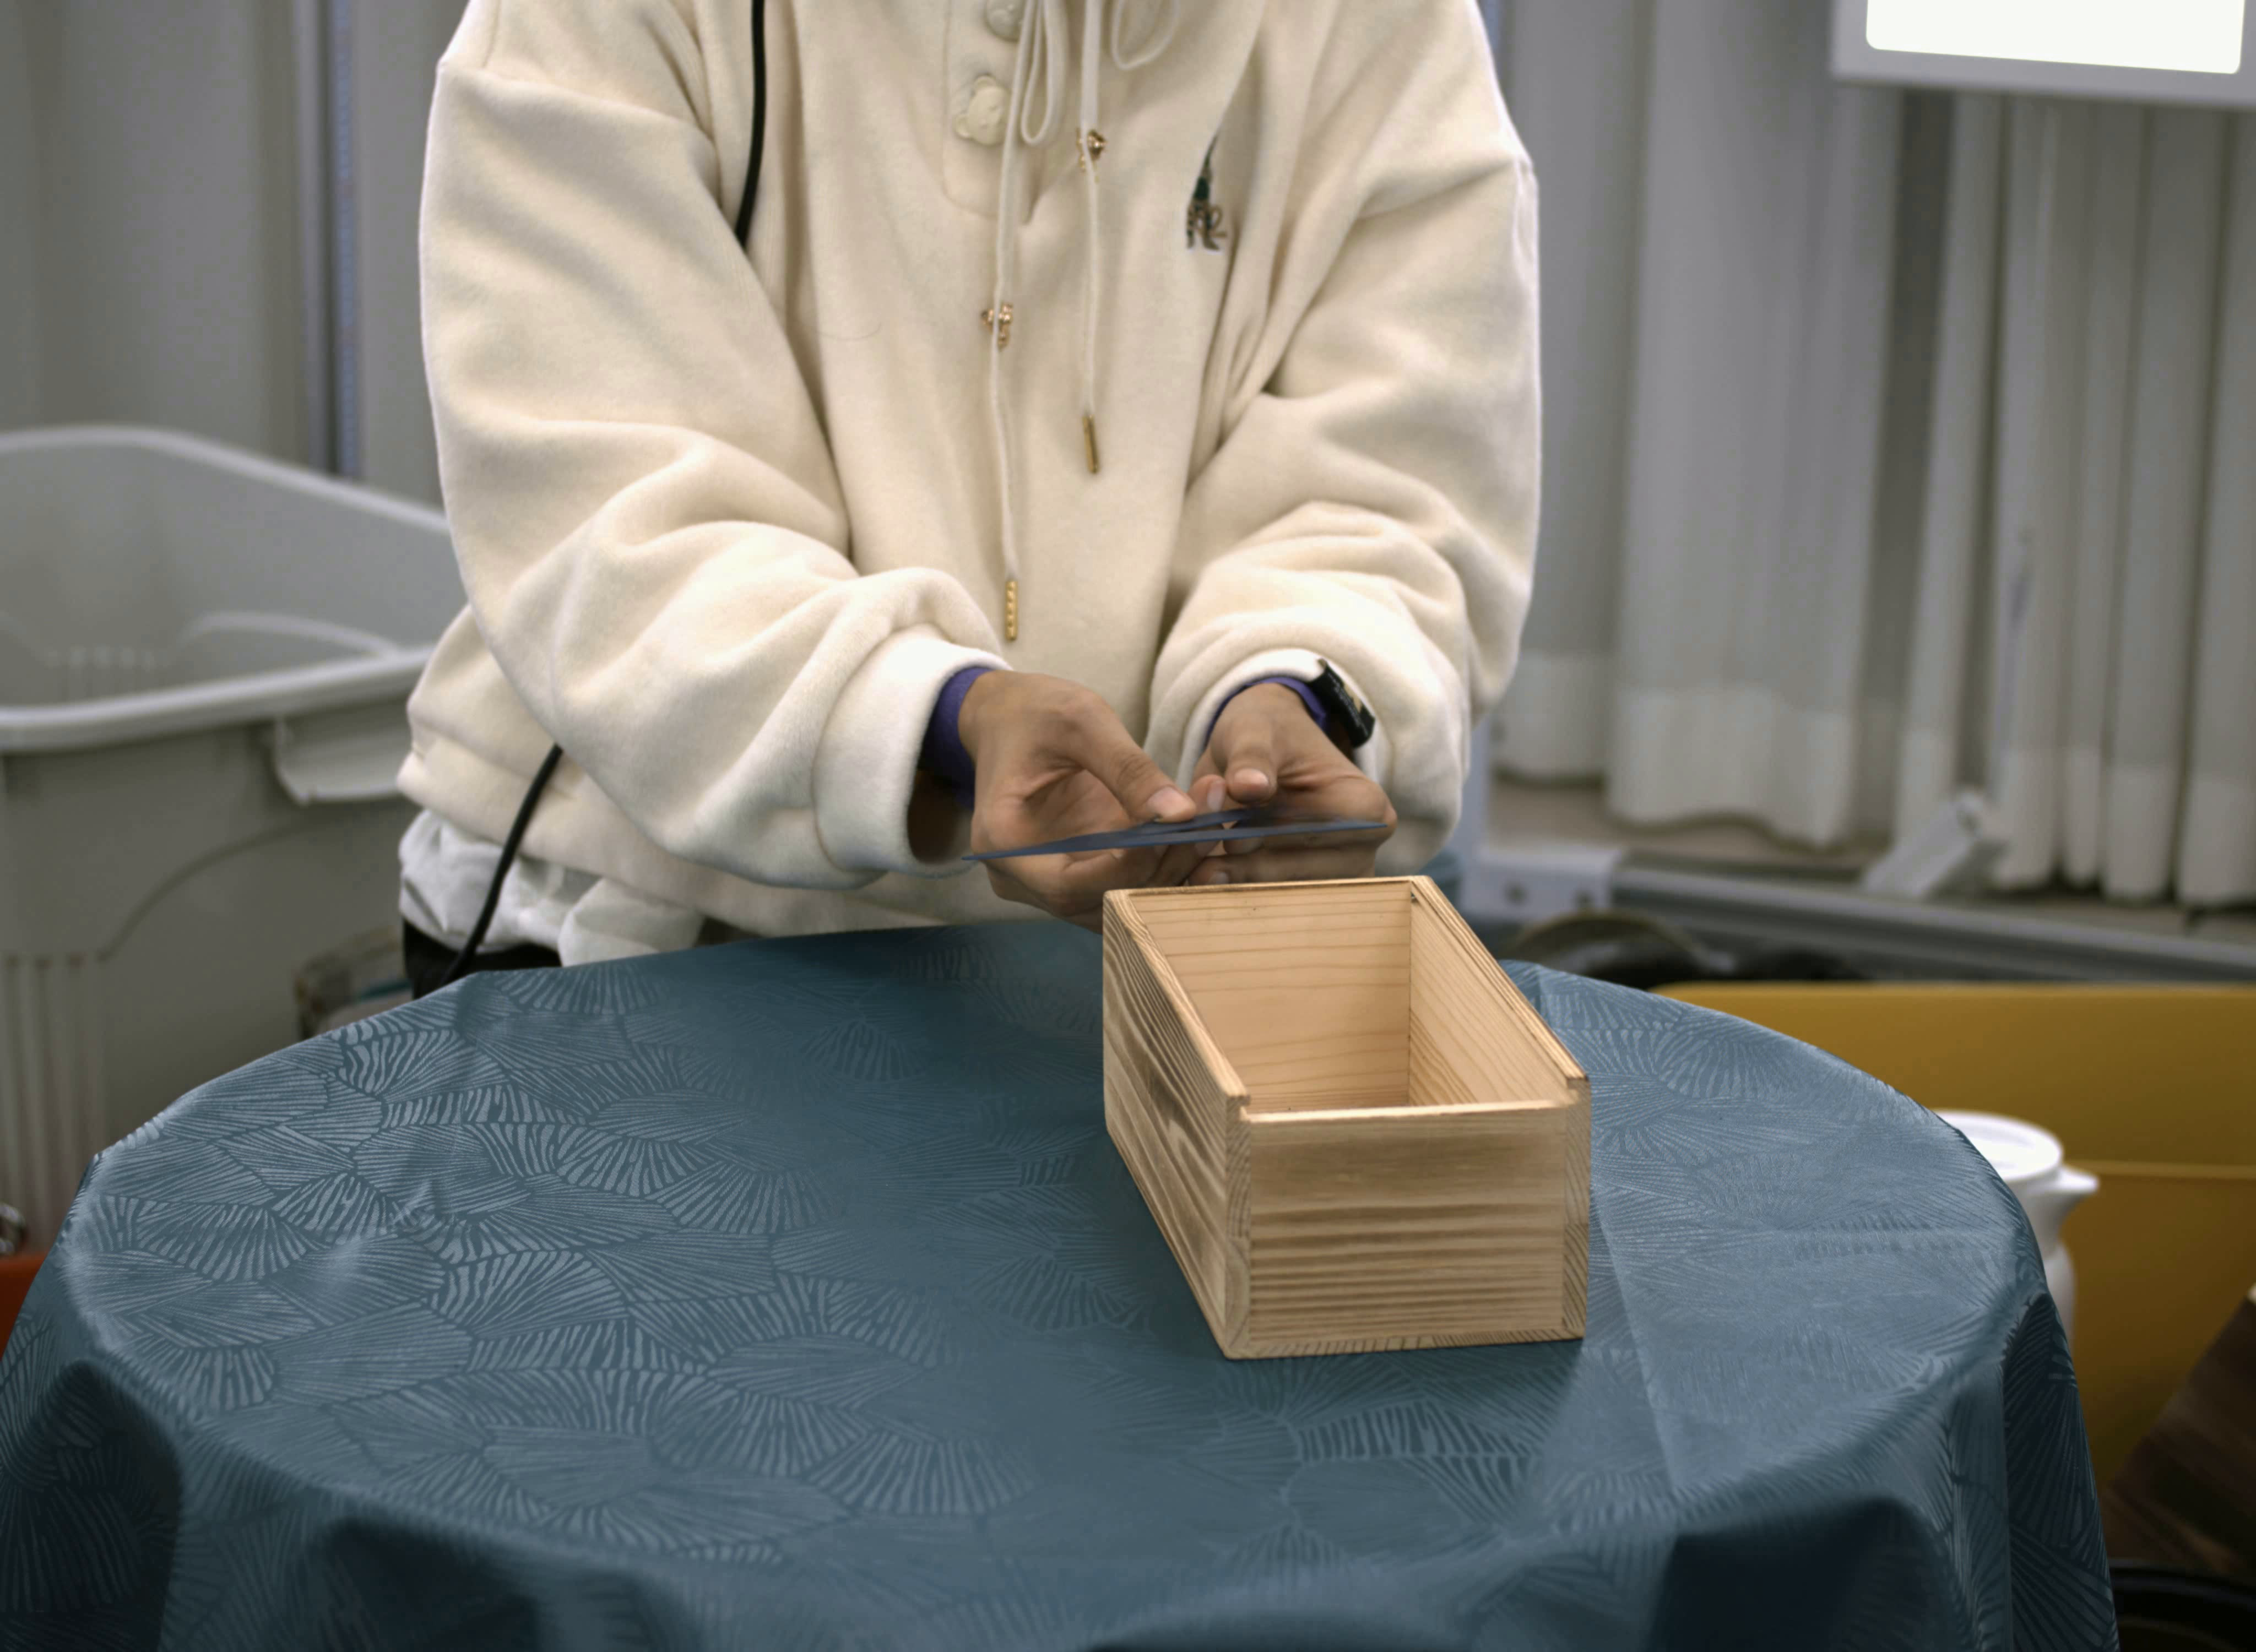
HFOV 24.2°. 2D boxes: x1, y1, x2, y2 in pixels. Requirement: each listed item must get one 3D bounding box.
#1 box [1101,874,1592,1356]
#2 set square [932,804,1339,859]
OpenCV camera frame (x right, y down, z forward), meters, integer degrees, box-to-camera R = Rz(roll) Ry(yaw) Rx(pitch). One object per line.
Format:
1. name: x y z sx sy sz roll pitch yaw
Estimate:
1. box: 0.061 0.082 1.580 0.107 0.081 0.209 -2 16 -10
2. set square: 0.001 -0.001 1.720 0.132 0.006 0.061 -4 10 -3
